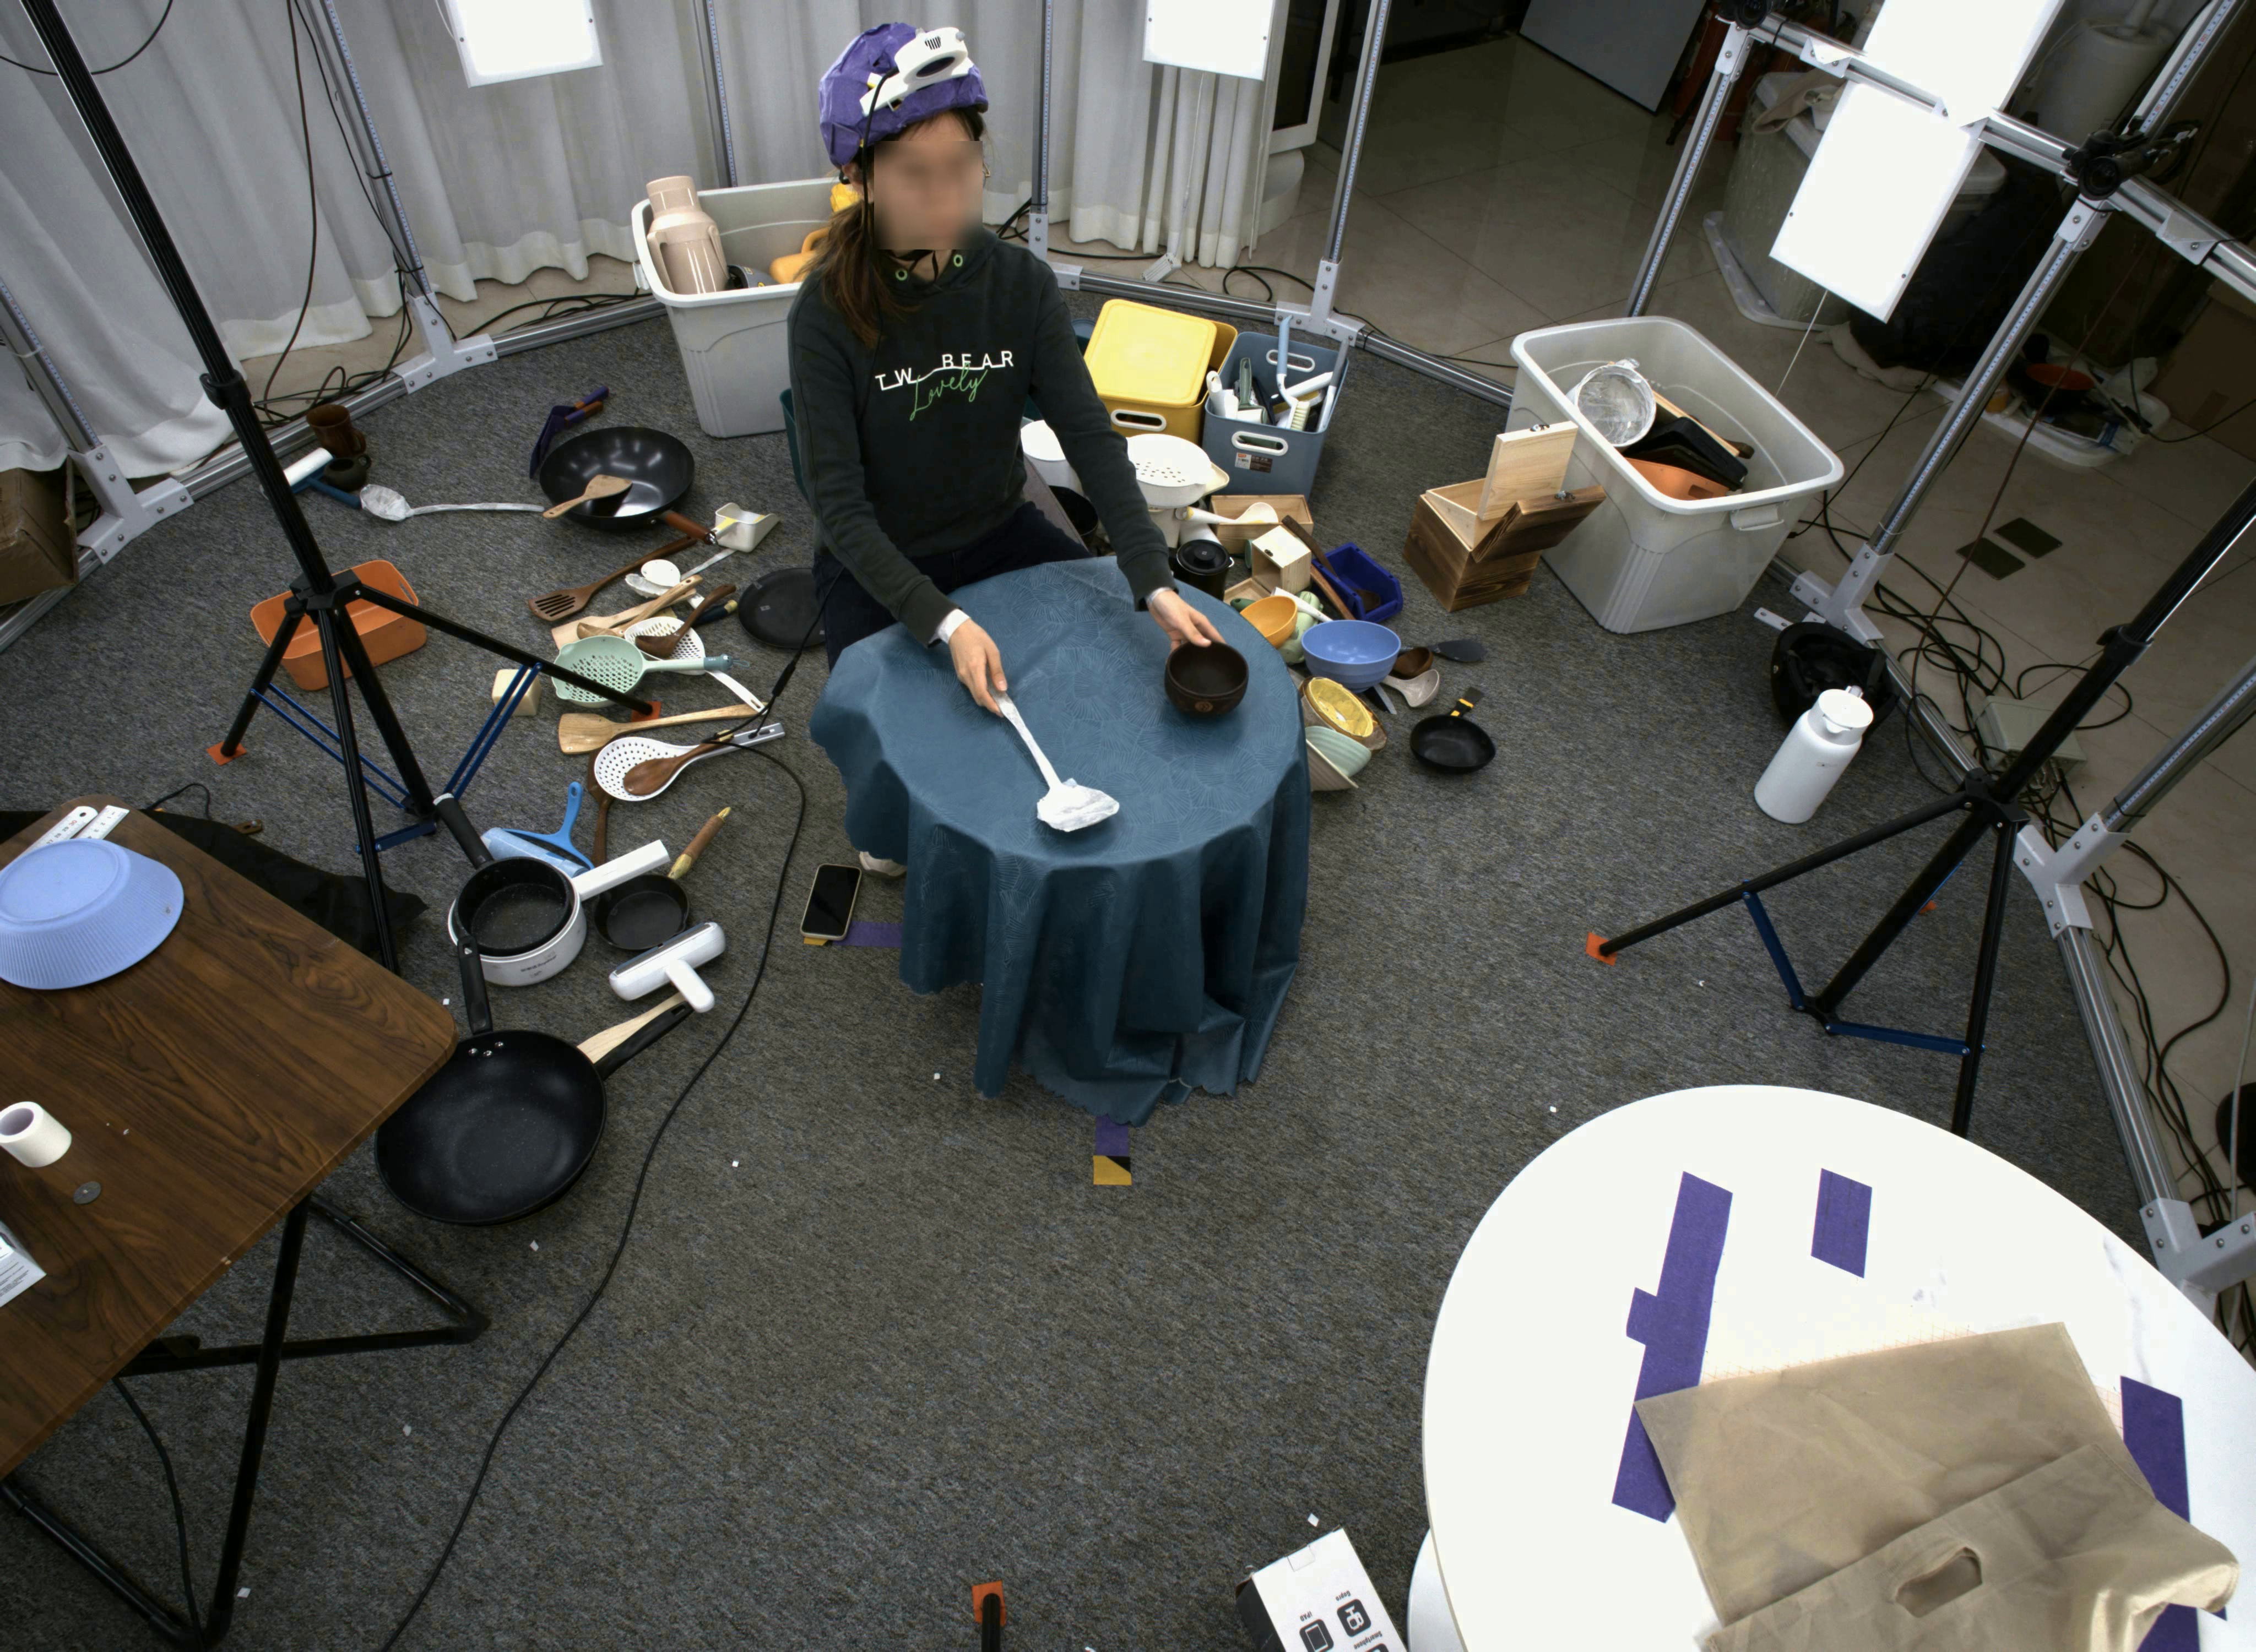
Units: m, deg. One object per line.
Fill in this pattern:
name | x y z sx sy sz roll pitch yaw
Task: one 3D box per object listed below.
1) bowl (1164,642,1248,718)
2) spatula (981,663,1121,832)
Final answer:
bowl | 0.109 -0.198 1.818 0.118 0.068 0.121 2 47 -2
spatula | -0.128 -0.118 1.751 0.099 0.044 0.373 -20 54 -19
